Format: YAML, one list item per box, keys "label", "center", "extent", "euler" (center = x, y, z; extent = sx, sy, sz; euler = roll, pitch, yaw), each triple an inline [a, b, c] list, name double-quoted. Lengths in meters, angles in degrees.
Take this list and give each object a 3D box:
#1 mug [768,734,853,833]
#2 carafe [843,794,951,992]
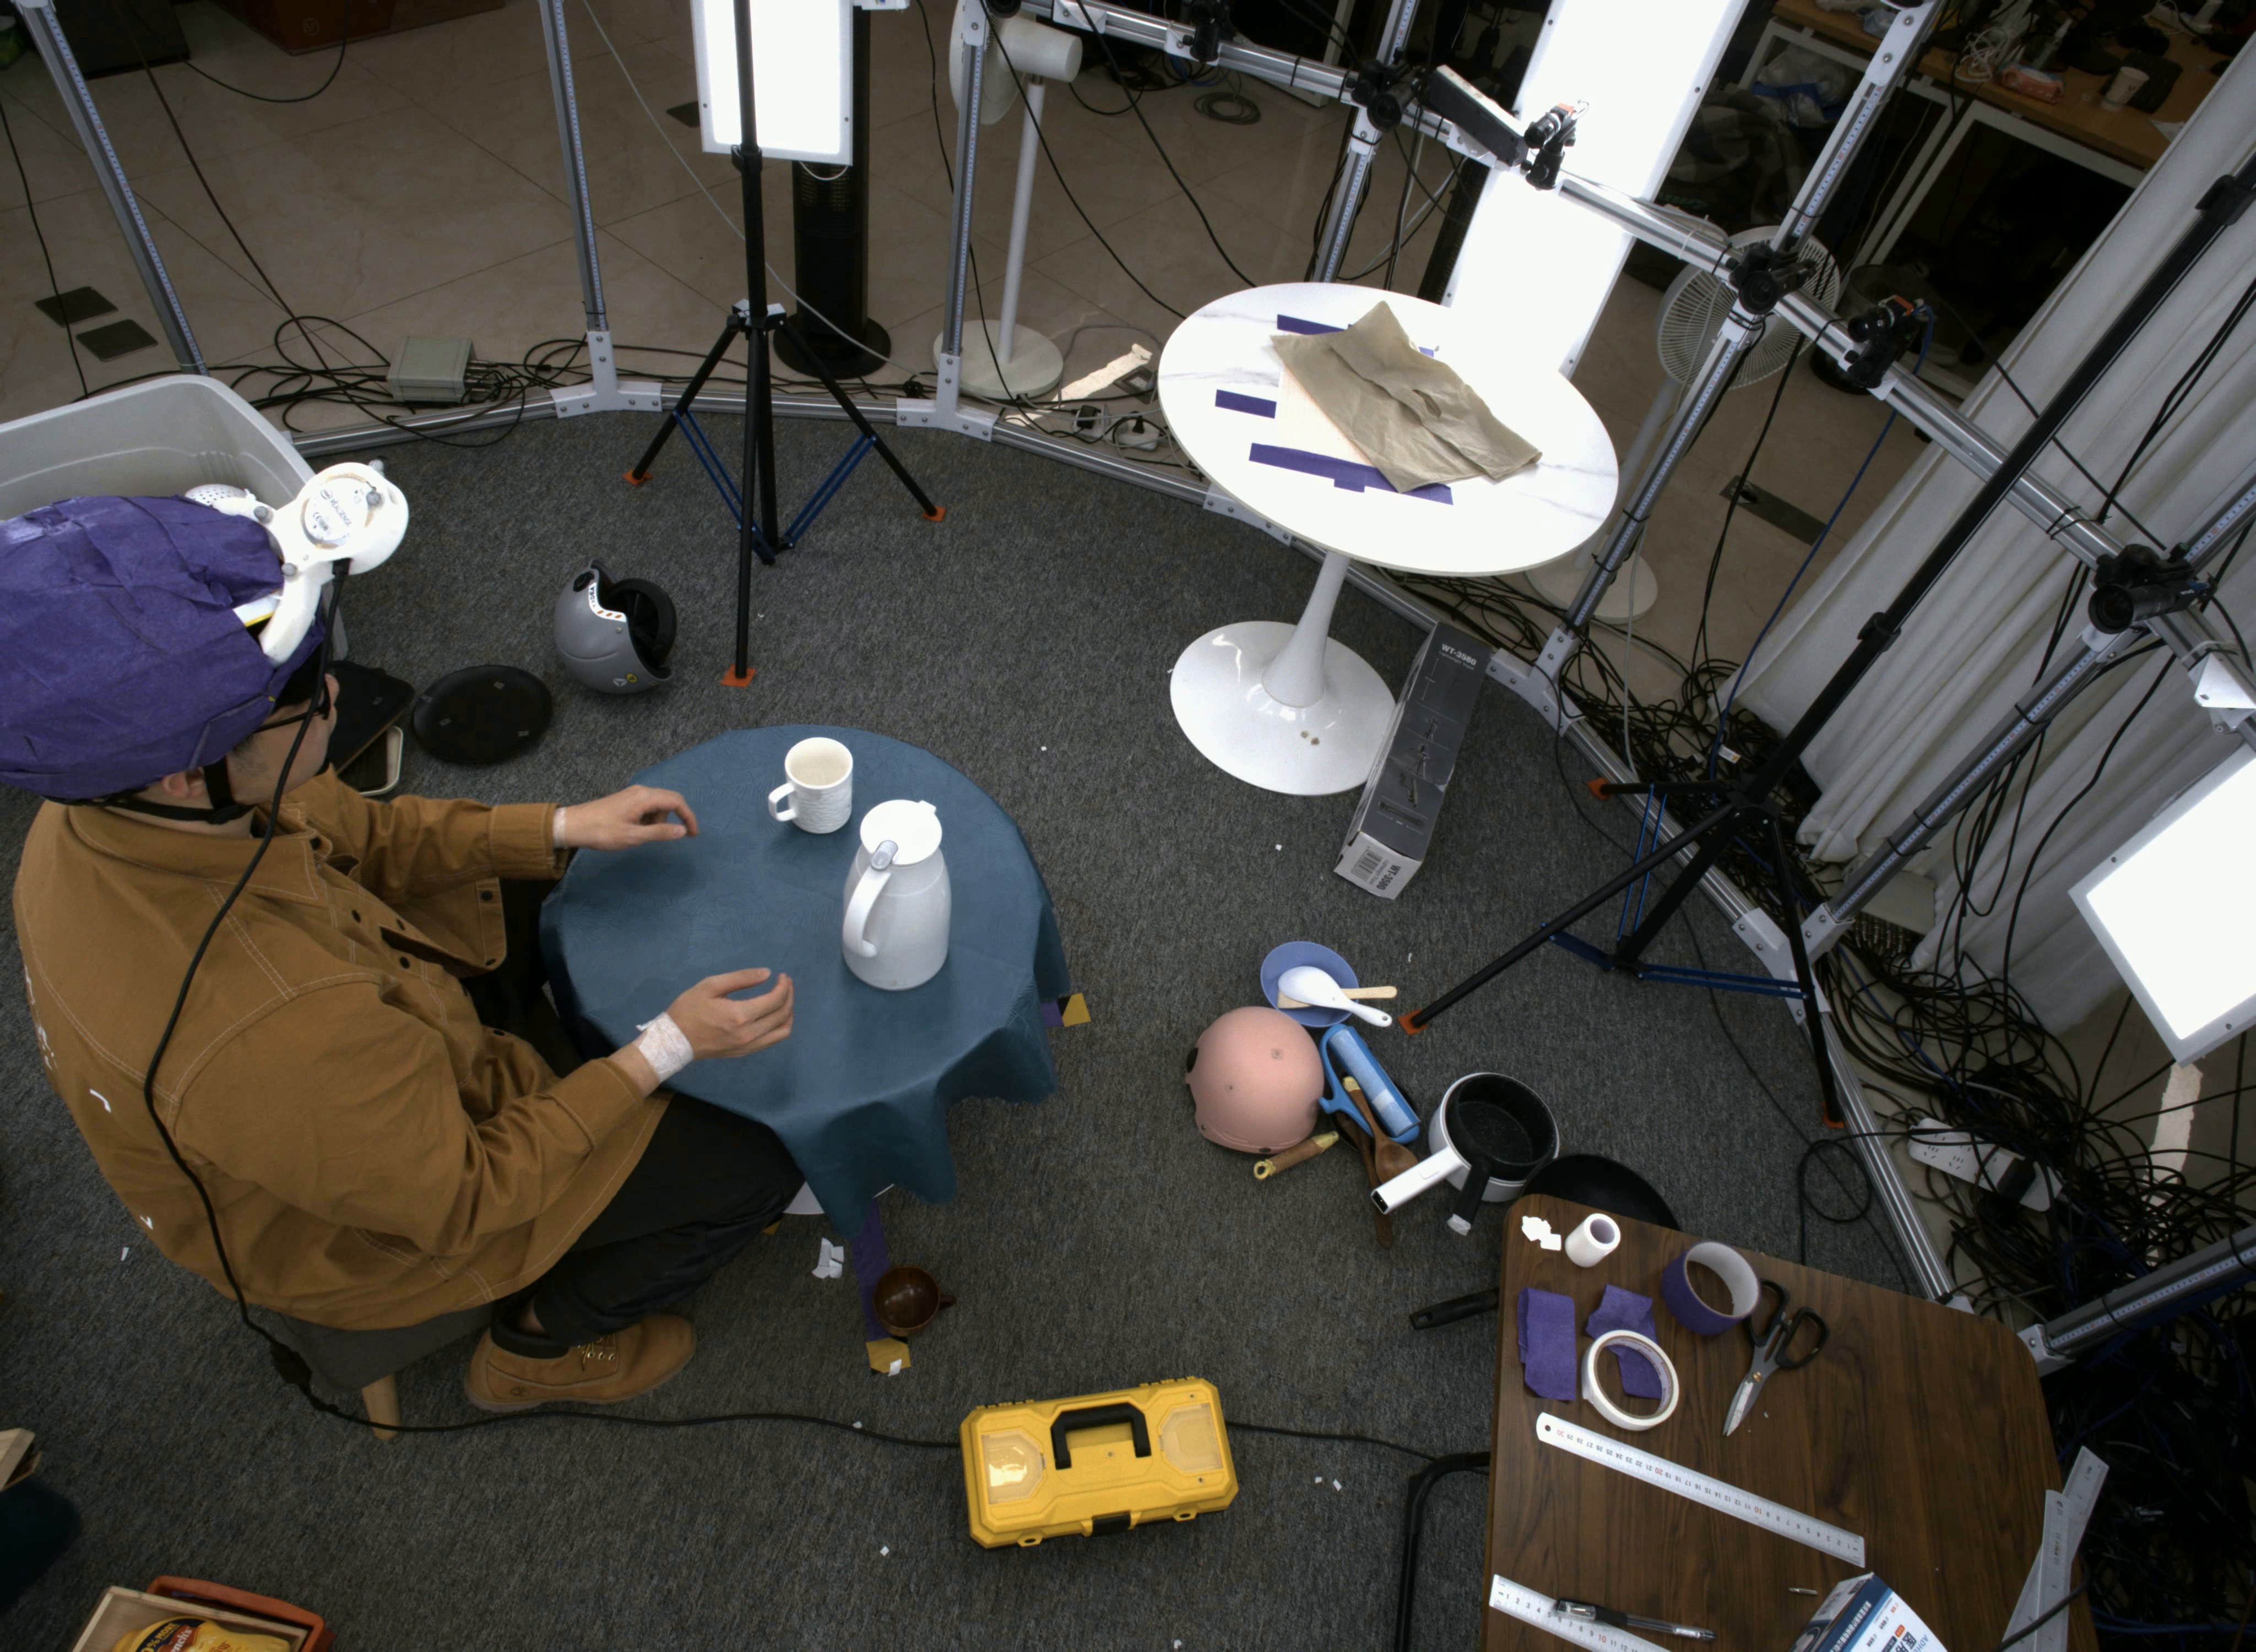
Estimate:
- label: "mug"
  center: [-0.416, -0.047, 1.689]
  extent: [0.083, 0.104, 0.118]
  euler: [42, 54, 19]
- label: "carafe"
  center: [-0.280, 0.086, 1.533]
  extent: [0.130, 0.254, 0.166]
  euler: [24, 52, 7]
